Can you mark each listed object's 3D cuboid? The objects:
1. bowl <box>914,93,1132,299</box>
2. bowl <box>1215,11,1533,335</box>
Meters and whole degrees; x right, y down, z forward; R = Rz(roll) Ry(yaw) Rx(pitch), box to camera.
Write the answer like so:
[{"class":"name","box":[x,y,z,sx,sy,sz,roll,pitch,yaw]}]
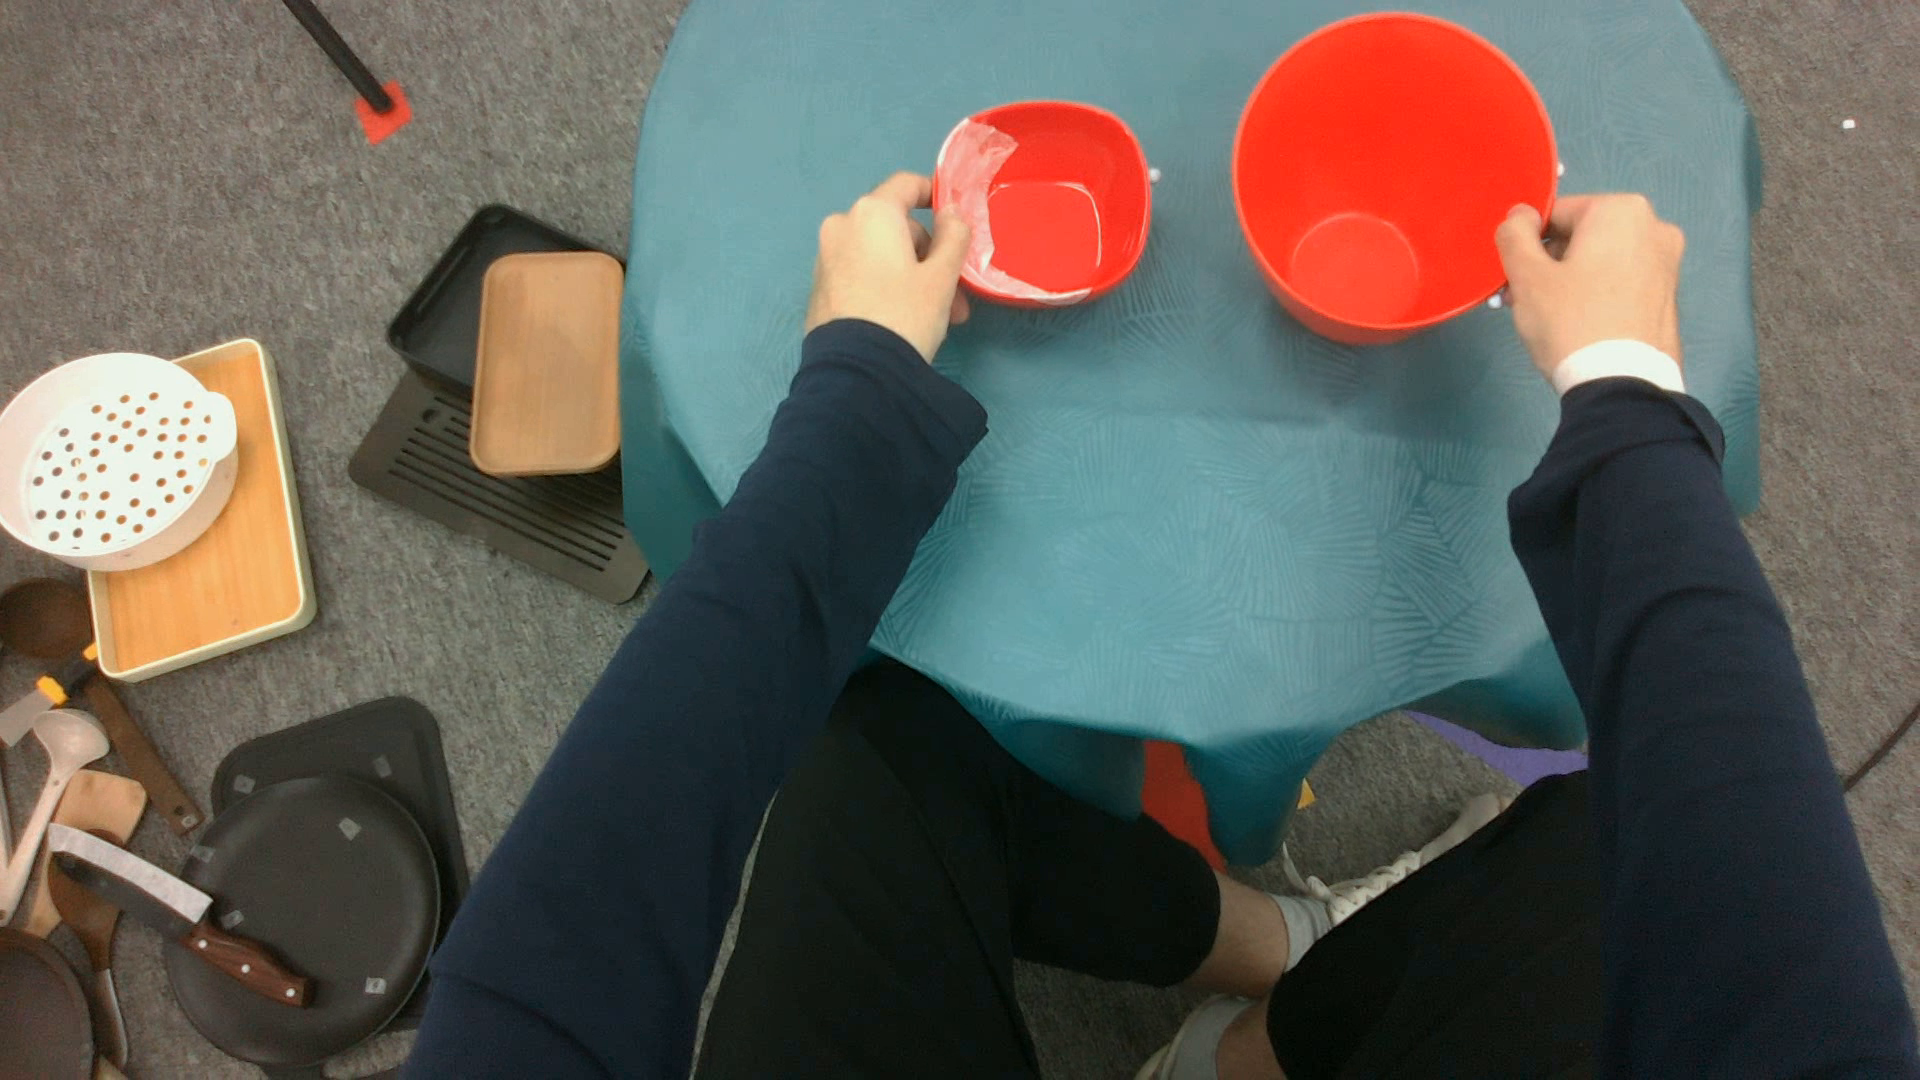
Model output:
[{"class":"bowl","box":[0.032,-0.171,0.717,0.119,0.051,0.119,0,76,1]},{"class":"bowl","box":[0.196,-0.167,0.685,0.148,0.104,0.148,-1,75,3]}]
